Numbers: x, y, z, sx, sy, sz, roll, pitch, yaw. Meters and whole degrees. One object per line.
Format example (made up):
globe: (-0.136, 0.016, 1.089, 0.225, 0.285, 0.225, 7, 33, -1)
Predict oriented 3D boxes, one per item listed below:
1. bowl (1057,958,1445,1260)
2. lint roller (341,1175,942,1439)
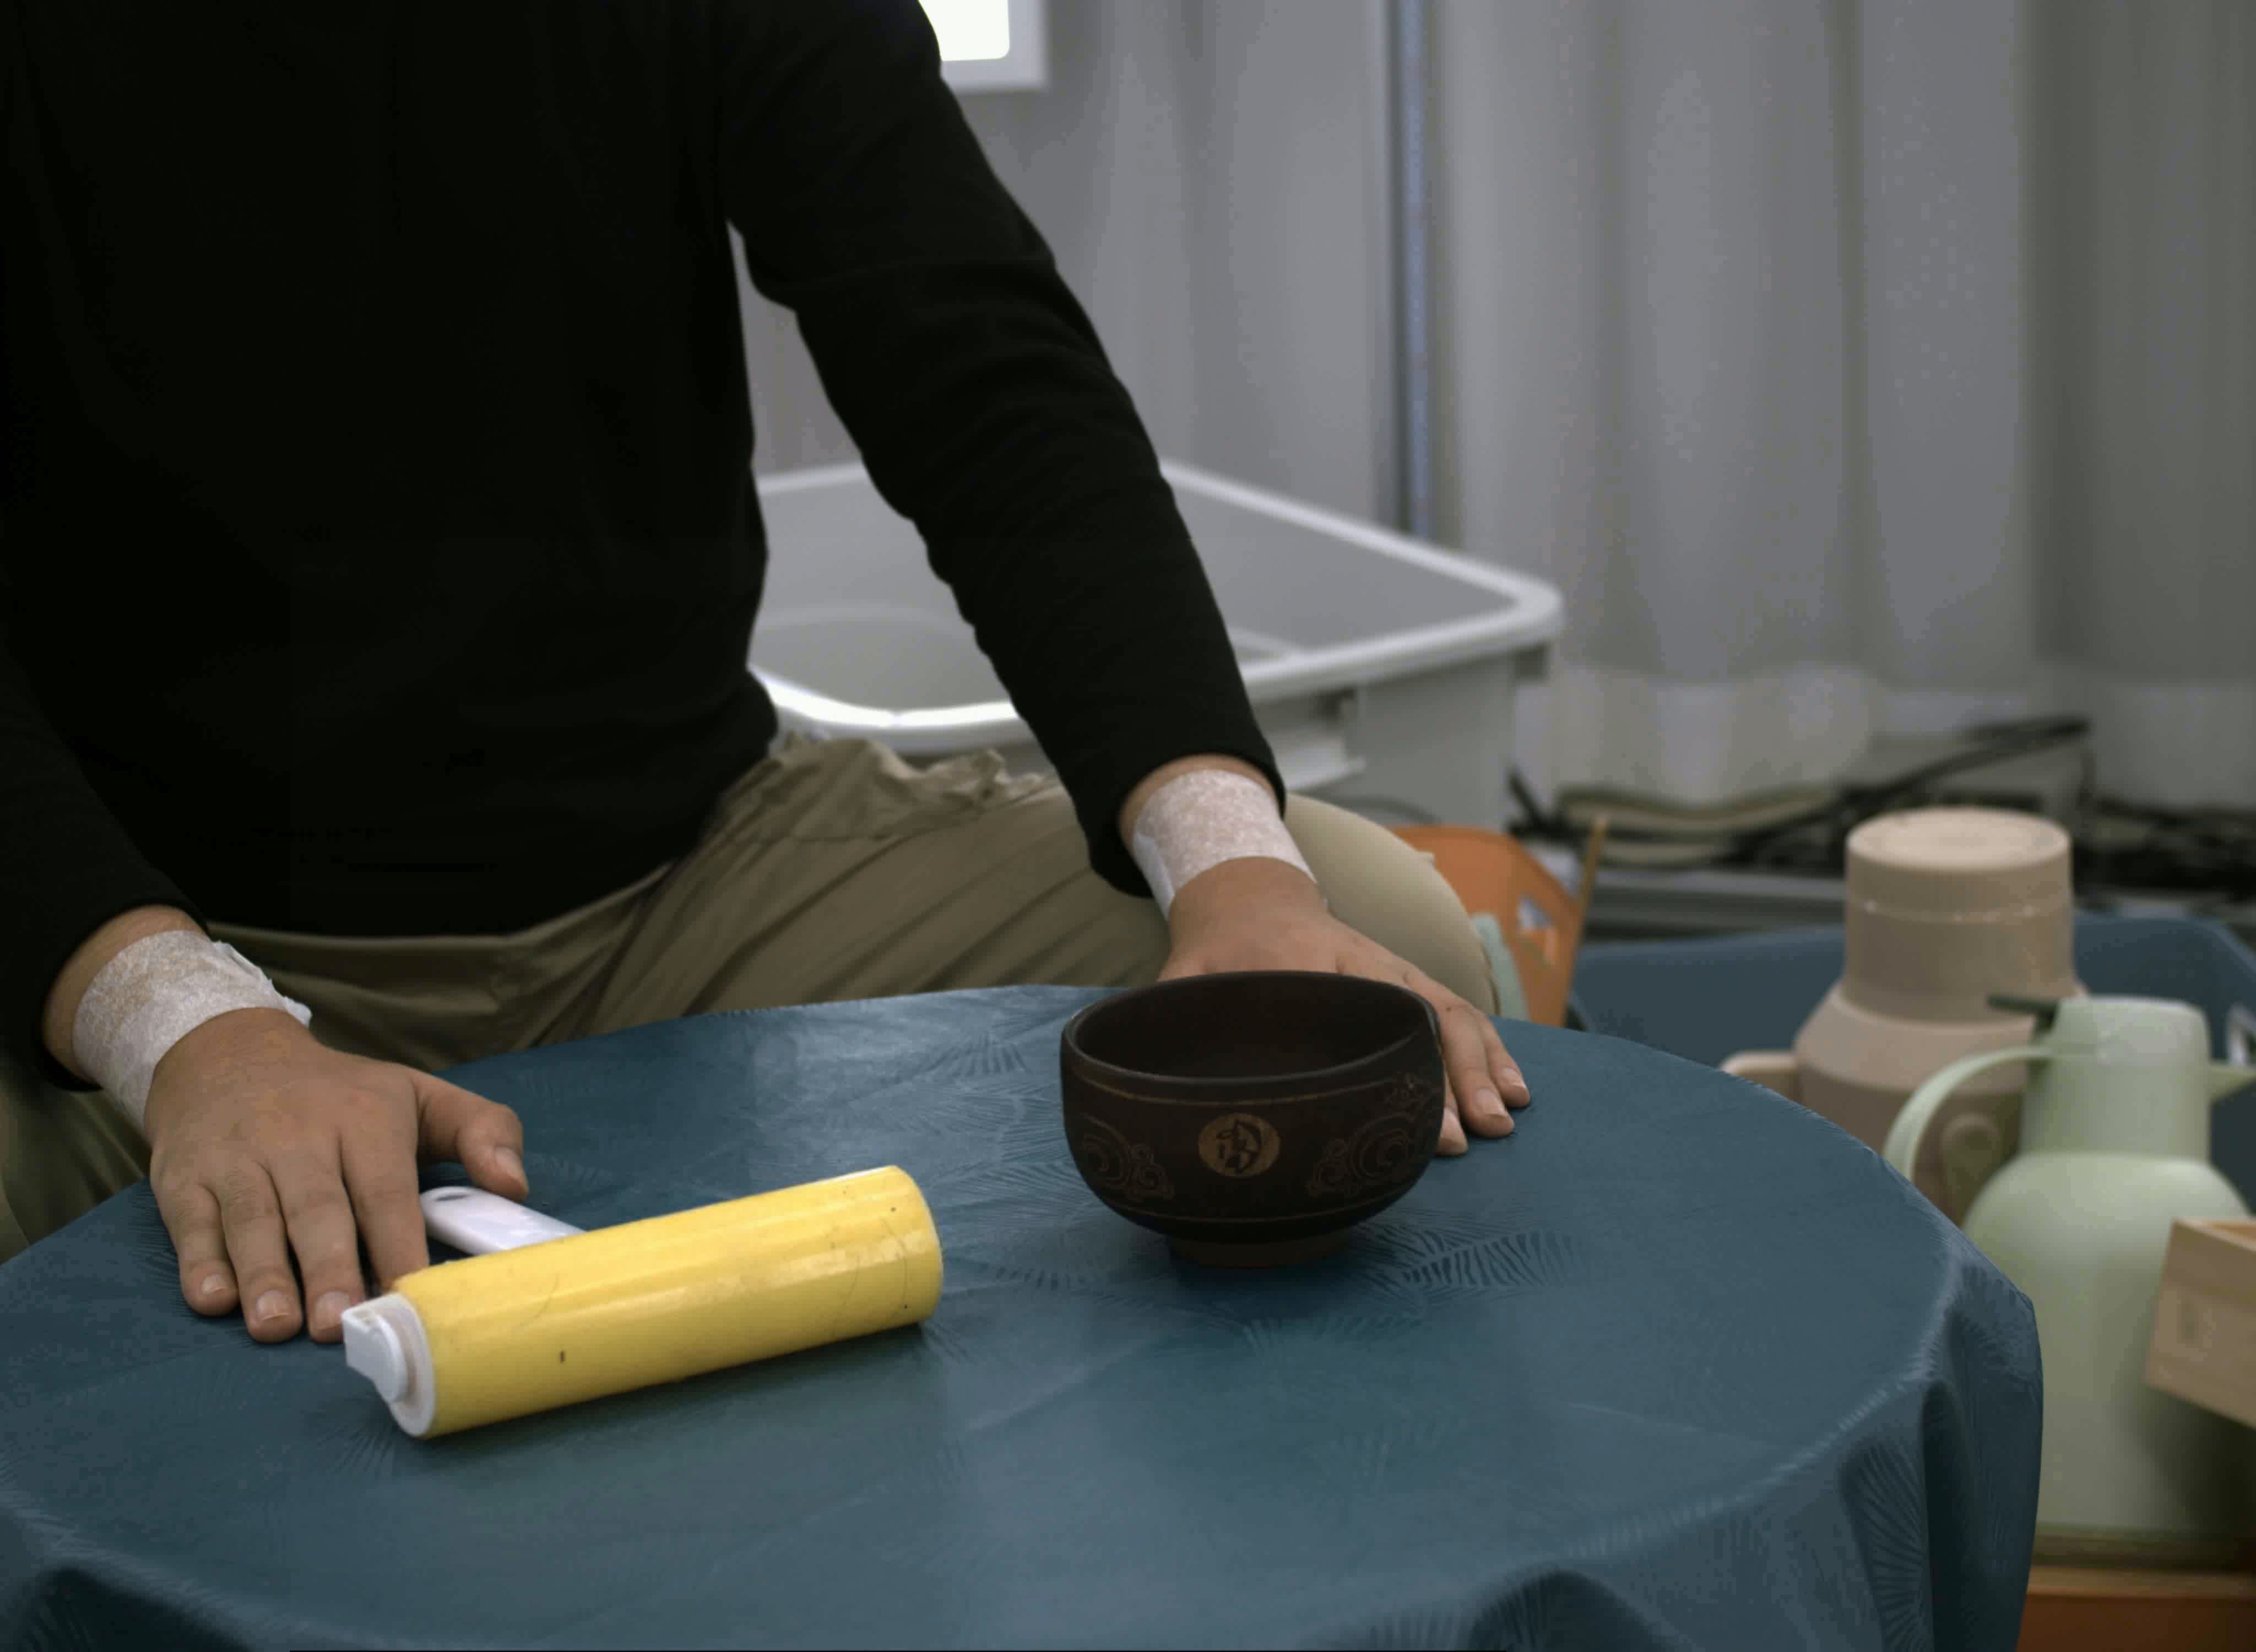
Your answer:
bowl: (0.038, 0.090, 1.656, 0.117, 0.069, 0.119, -2, 15, 0)
lint roller: (-0.172, 0.120, 1.627, 0.173, 0.051, 0.194, -11, 21, -29)
